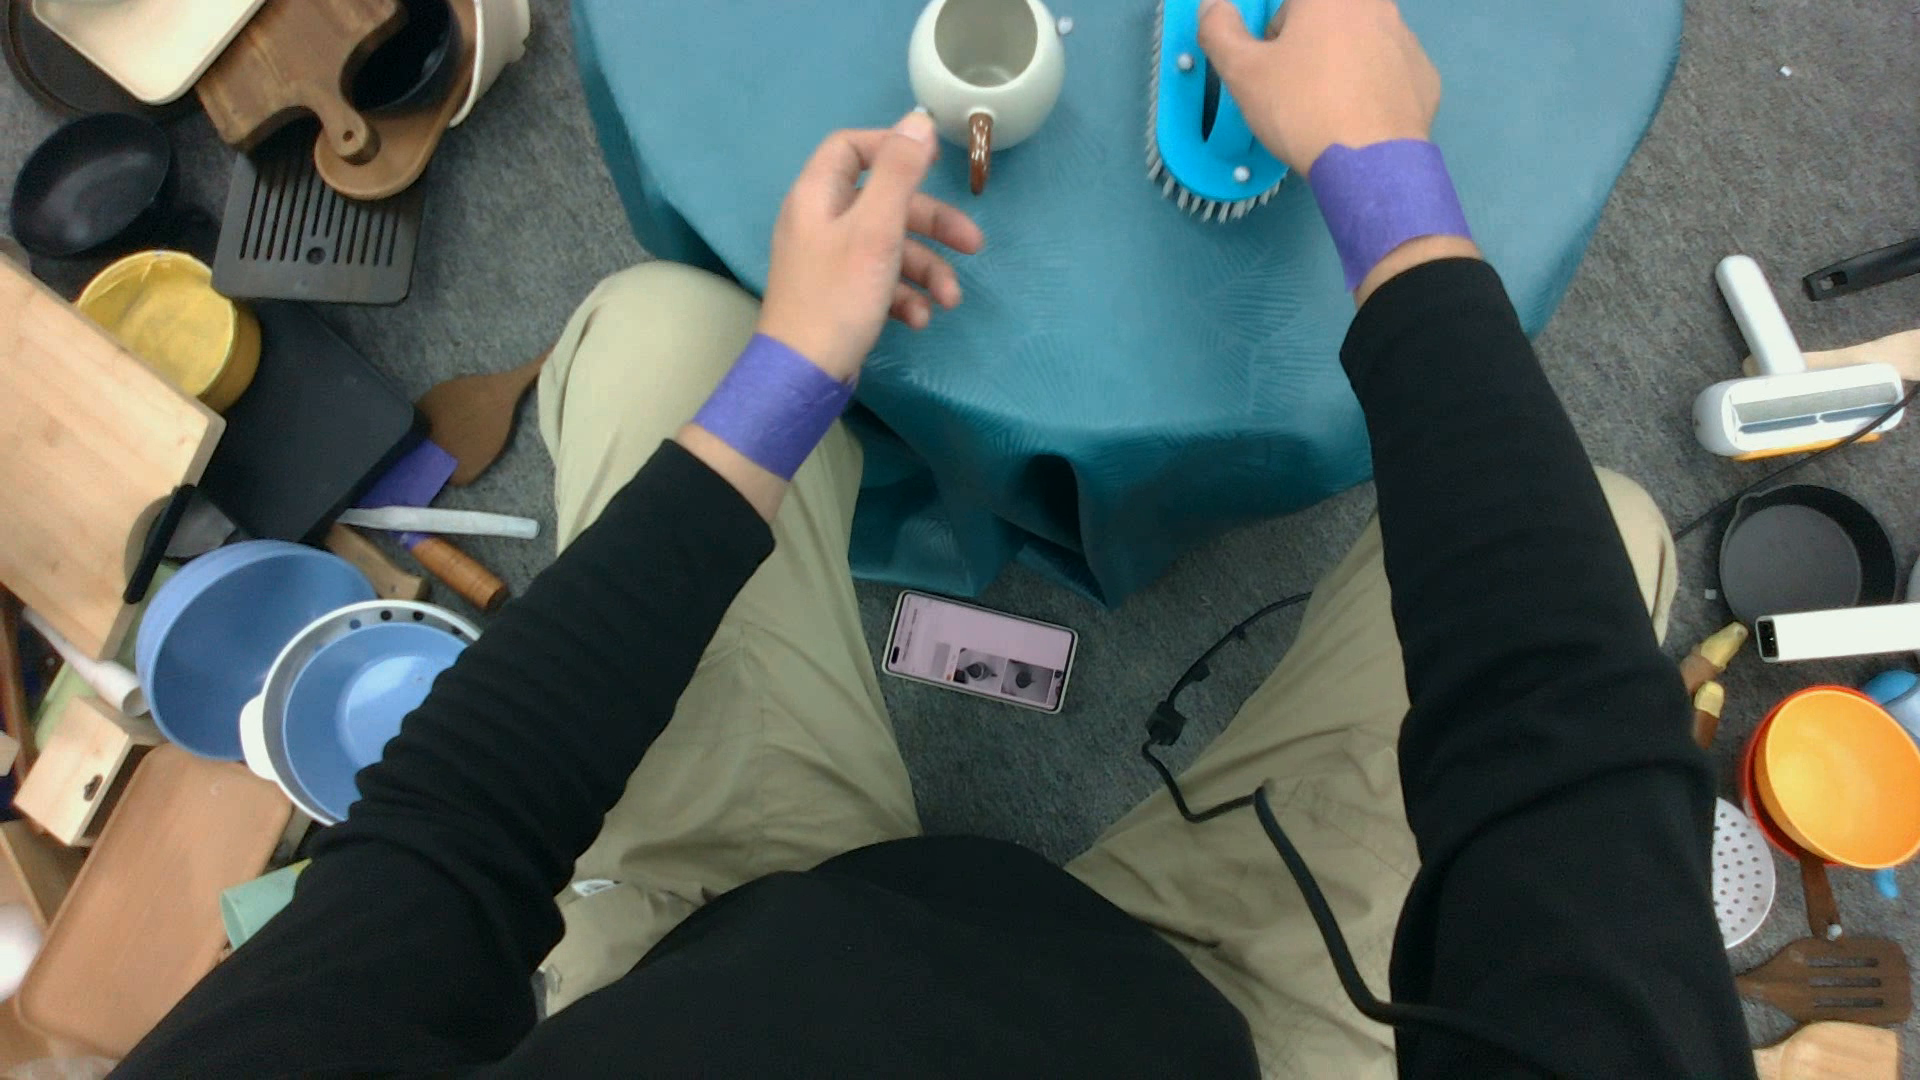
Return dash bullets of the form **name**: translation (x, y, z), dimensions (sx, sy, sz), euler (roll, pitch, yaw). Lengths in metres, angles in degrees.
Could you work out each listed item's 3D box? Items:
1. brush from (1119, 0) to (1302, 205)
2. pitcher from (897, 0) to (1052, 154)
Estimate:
- **brush**: translation (0.129, -0.245, 0.692), dimensions (0.084, 0.063, 0.142), euler (7, 85, -4)
- **pitcher**: translation (0.007, -0.241, 0.679), dimensions (0.076, 0.088, 0.119), euler (7, 80, 6)
